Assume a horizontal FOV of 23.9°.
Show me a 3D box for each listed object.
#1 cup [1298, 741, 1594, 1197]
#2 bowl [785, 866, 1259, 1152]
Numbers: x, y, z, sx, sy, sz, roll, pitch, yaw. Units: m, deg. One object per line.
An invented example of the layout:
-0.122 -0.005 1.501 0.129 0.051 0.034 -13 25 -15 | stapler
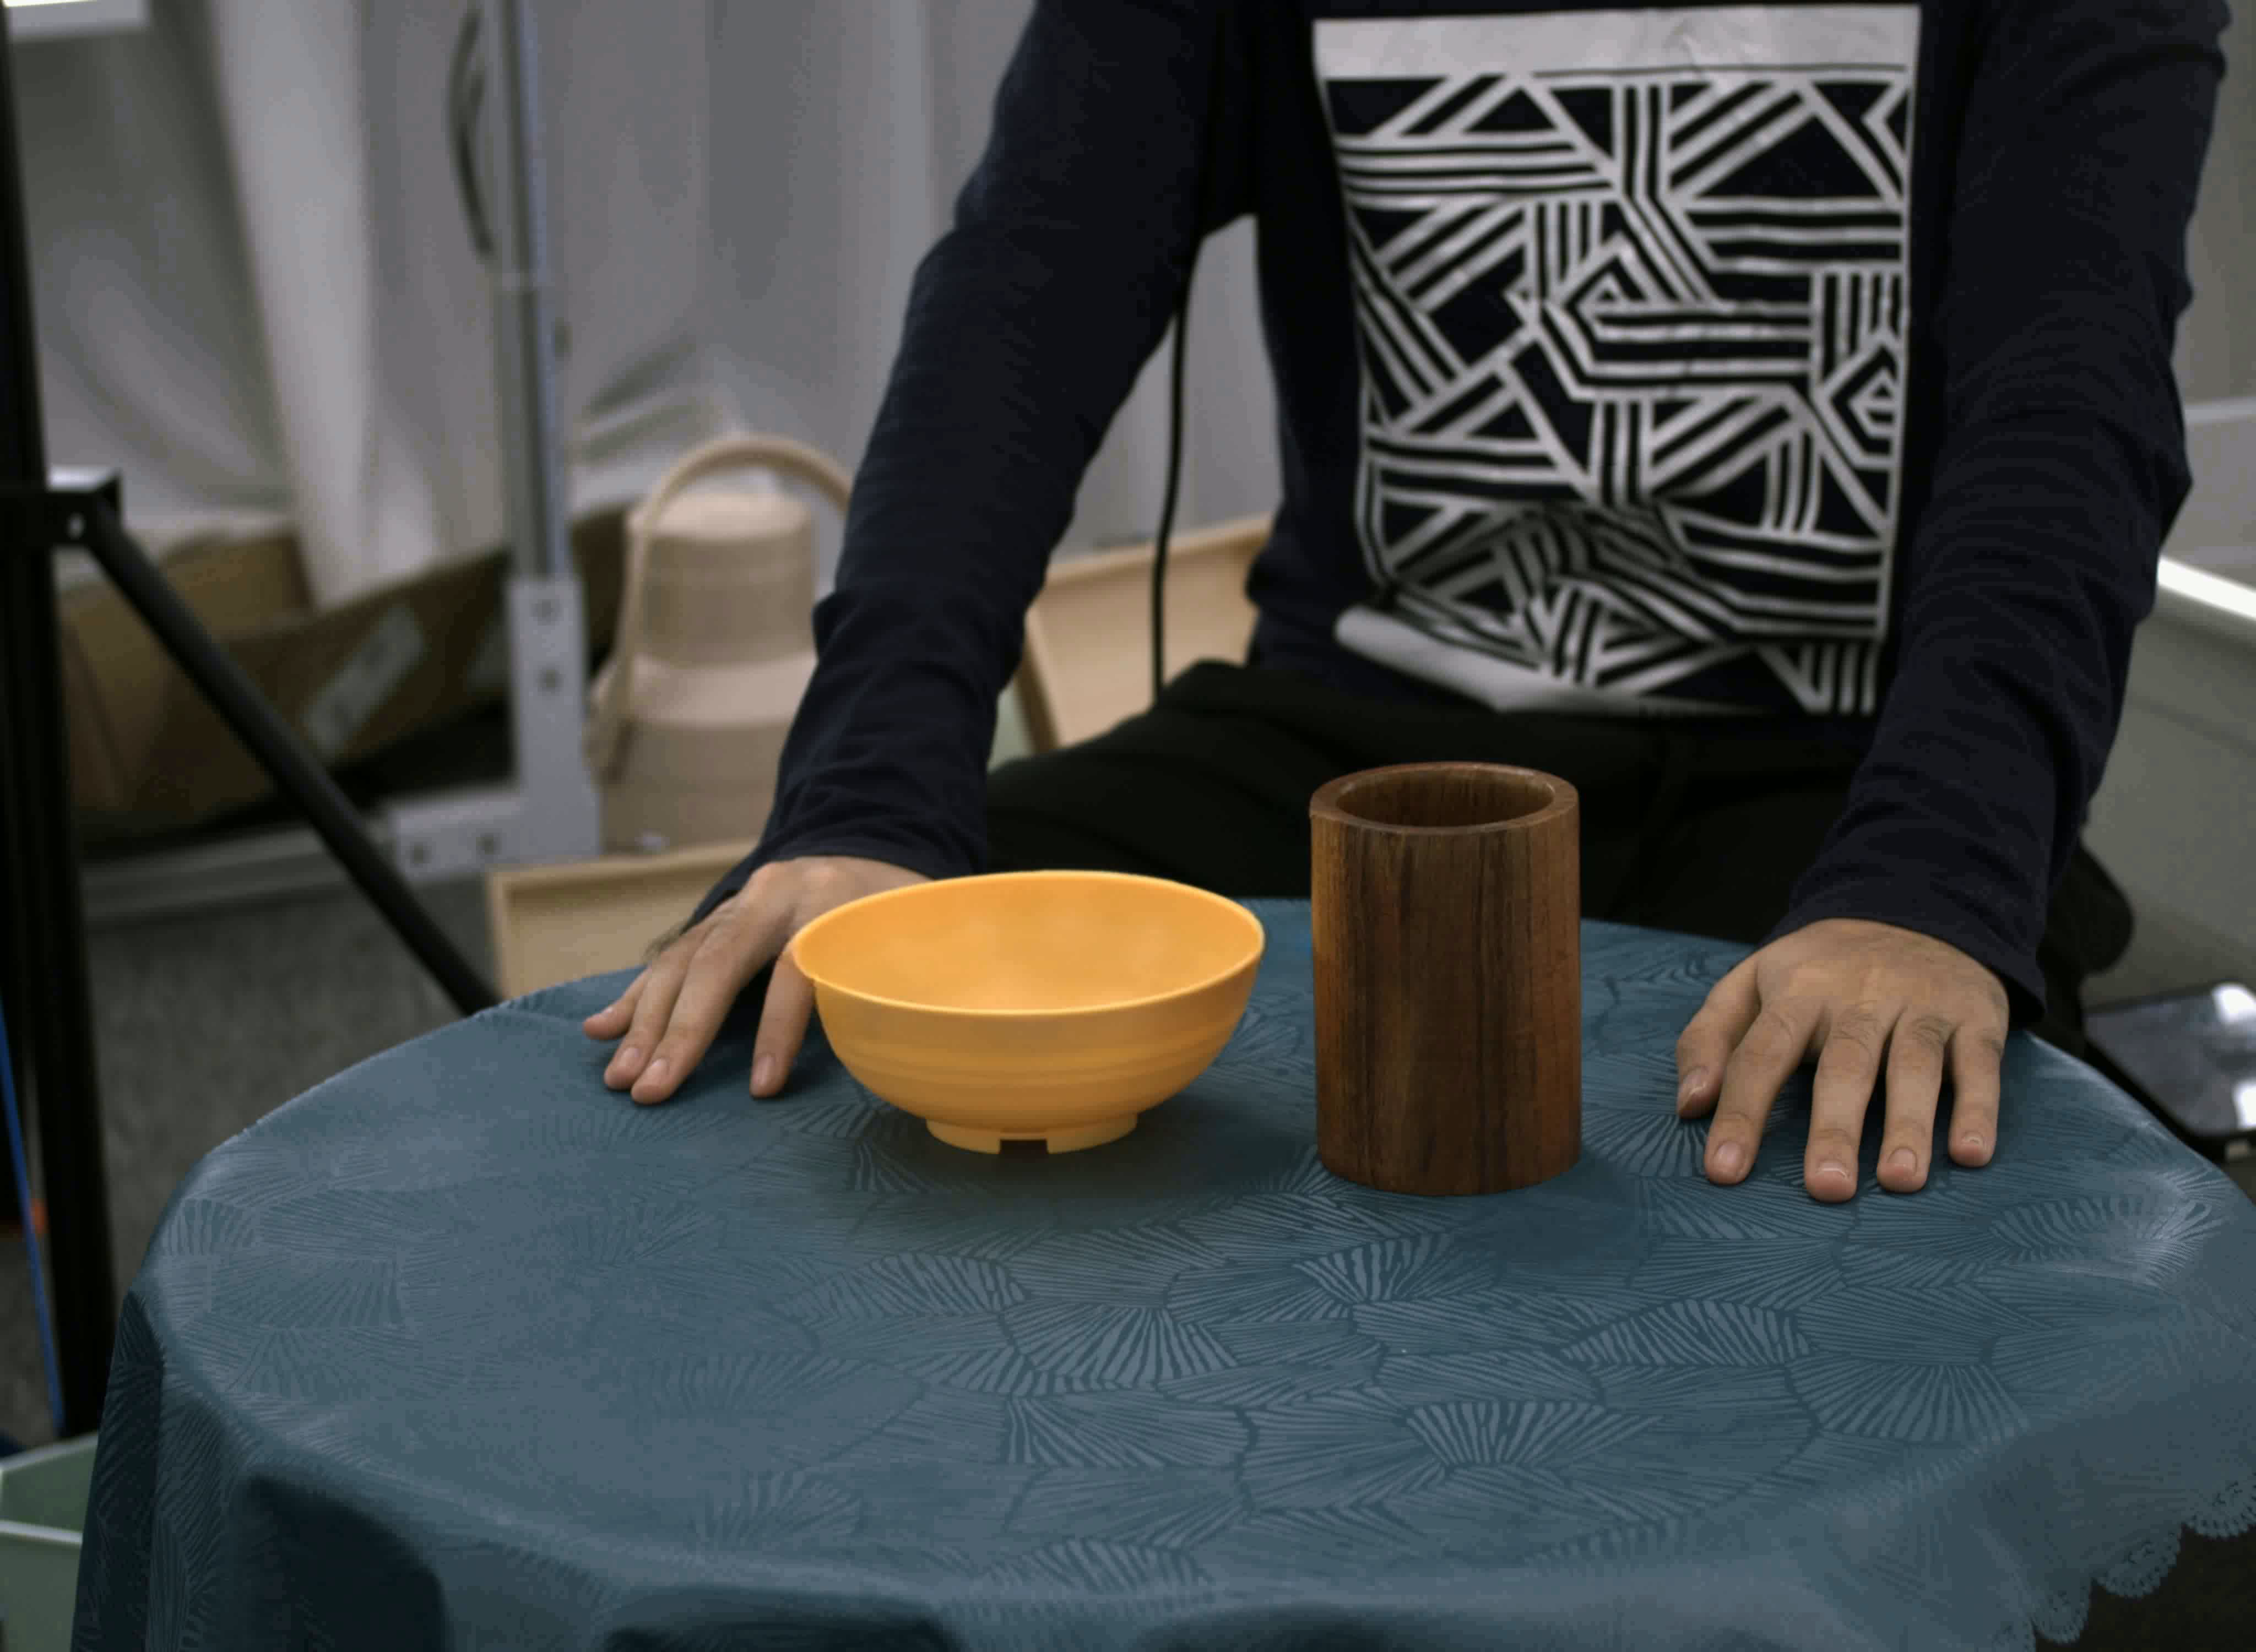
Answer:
0.093 0.041 1.568 0.087 0.118 0.088 -1 15 -1 | cup
-0.032 0.061 1.620 0.144 0.060 0.146 -2 16 -1 | bowl
